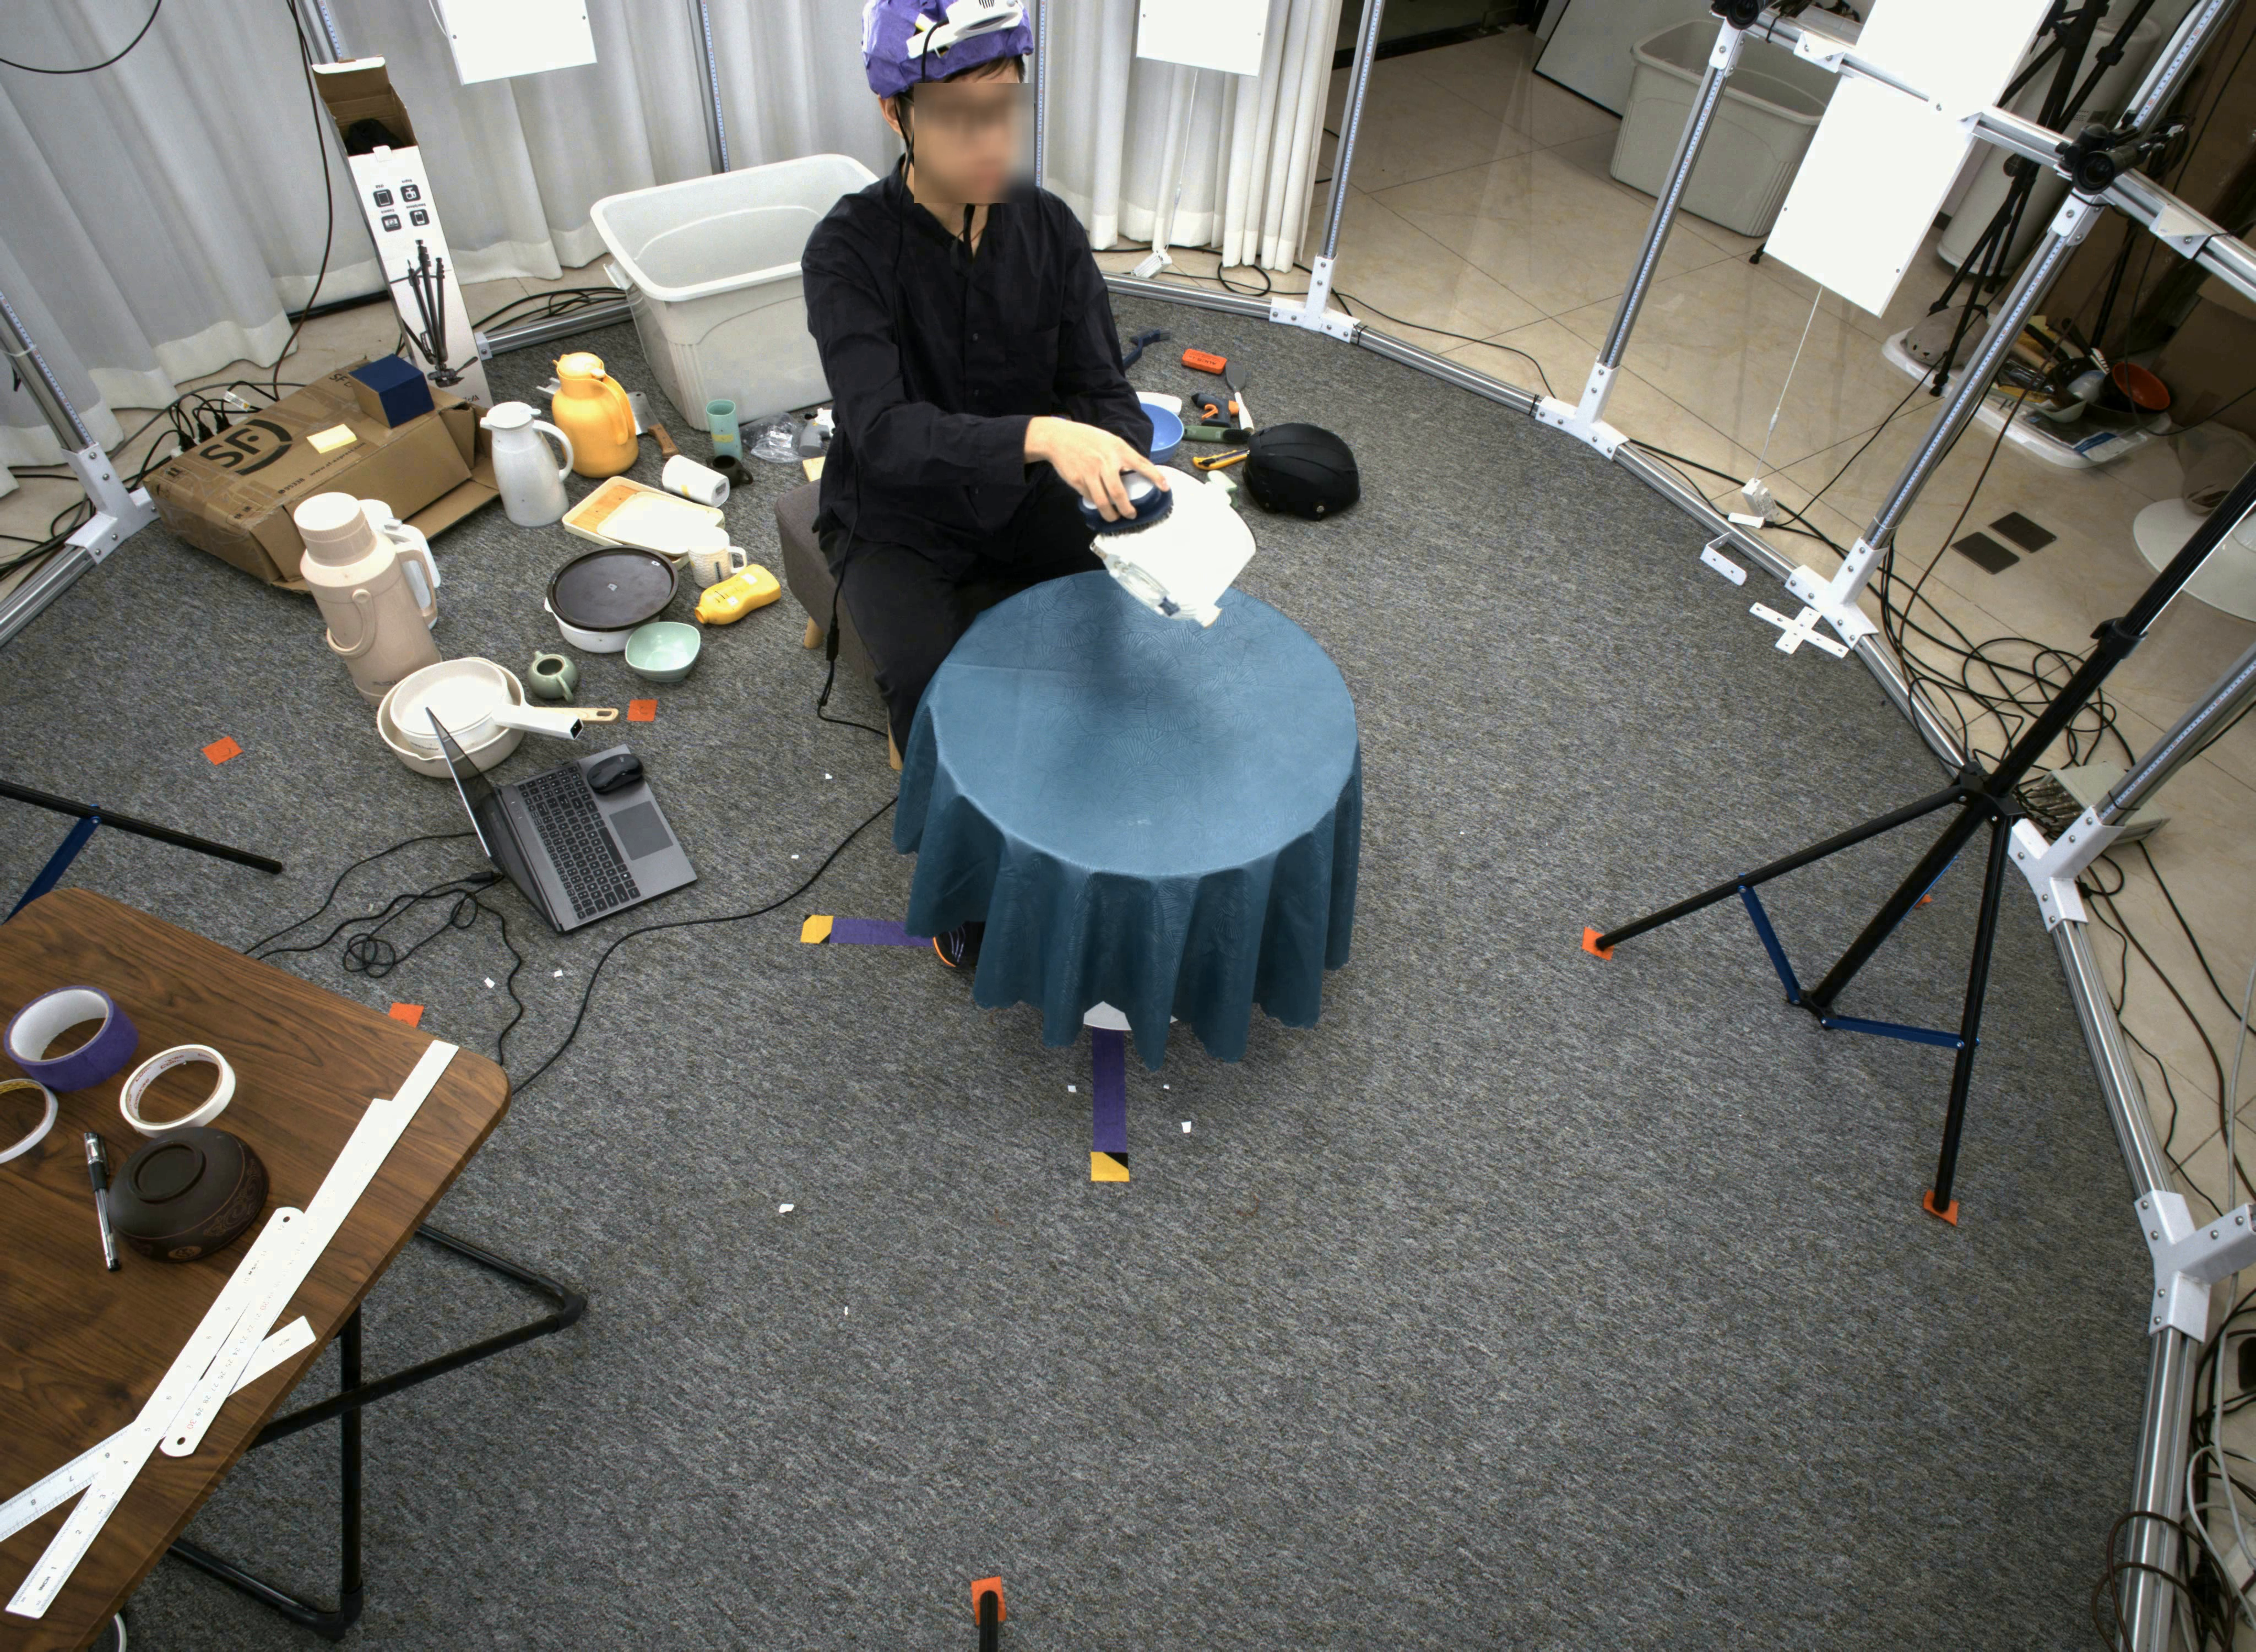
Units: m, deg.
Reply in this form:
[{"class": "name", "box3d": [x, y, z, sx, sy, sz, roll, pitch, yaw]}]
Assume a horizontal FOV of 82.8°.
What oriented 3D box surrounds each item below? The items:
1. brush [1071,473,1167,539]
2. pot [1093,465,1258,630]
[{"class": "brush", "box3d": [-0.009, -0.399, 1.619, 0.122, 0.060, 0.069, -2, 66, 22]}, {"class": "pot", "box3d": [0.066, -0.365, 1.723, 0.189, 0.240, 0.143, 37, 83, -8]}]
